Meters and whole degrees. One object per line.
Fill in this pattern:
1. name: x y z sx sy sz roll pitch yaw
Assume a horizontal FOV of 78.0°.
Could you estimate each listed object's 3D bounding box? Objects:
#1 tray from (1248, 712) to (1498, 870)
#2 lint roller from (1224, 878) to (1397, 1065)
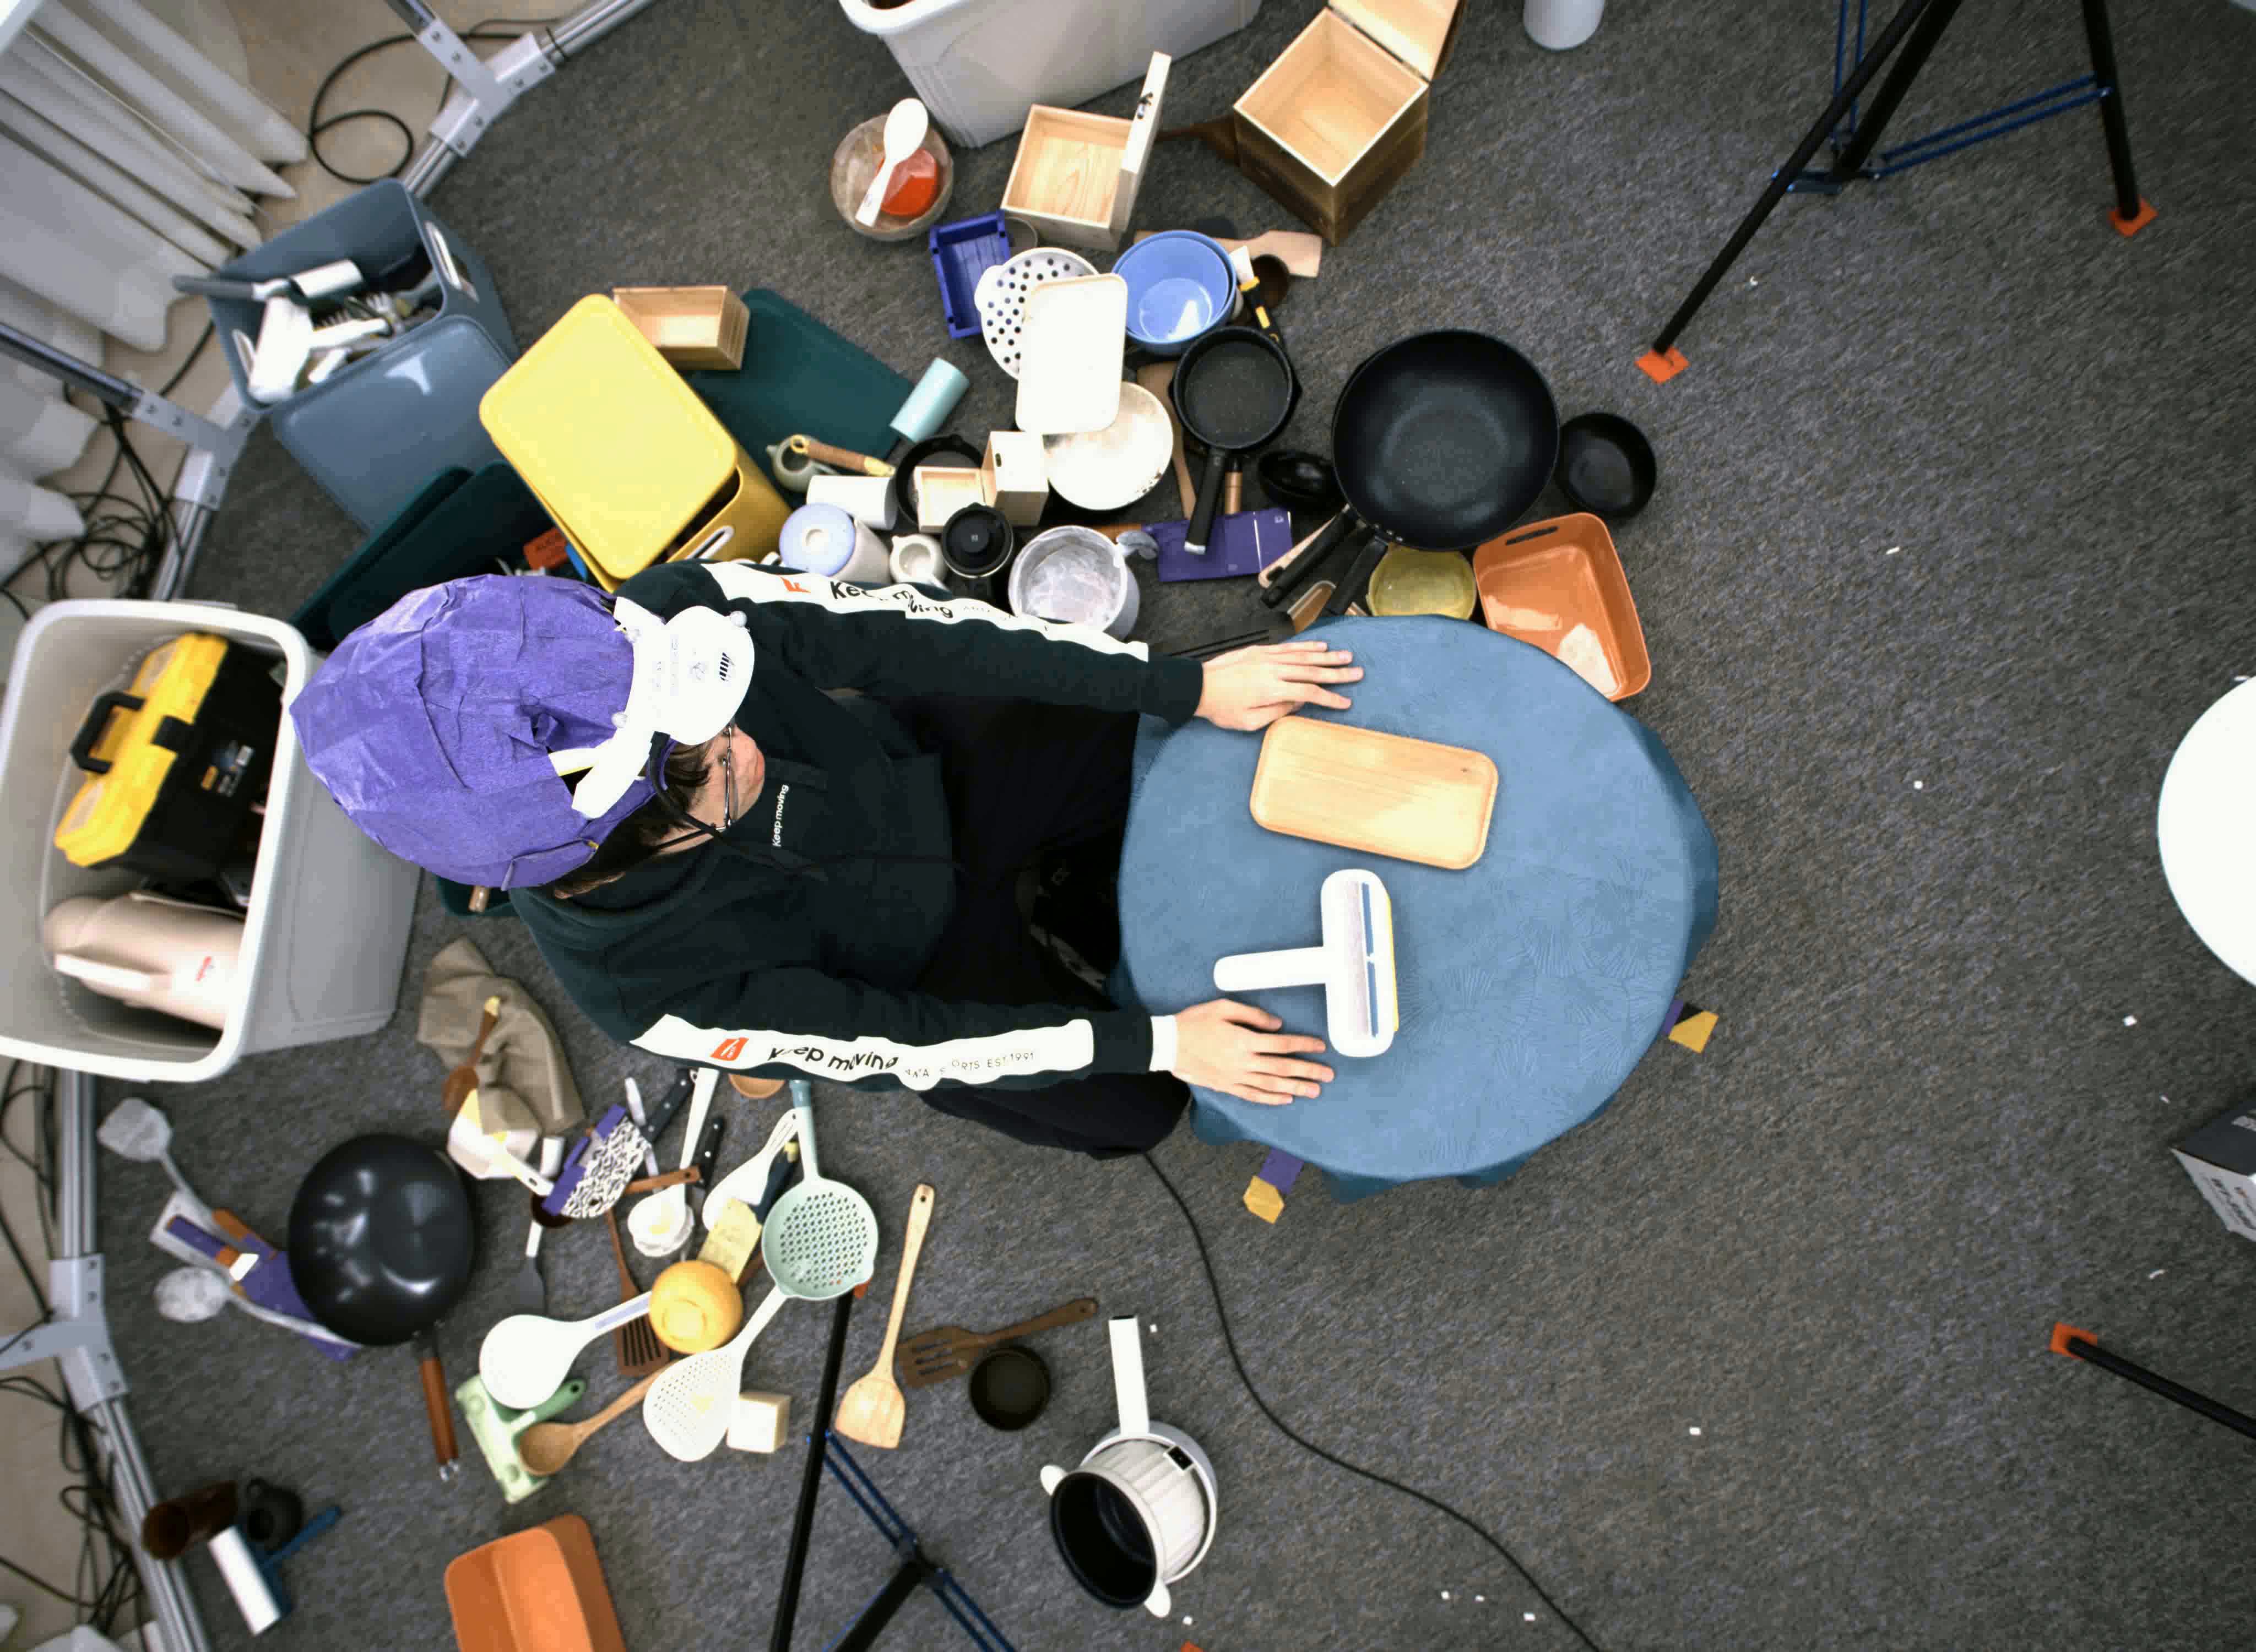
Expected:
1. tray: 0.257 -0.039 1.455 0.251 0.023 0.130 13 88 11
2. lint roller: 0.185 0.150 1.451 0.194 0.074 0.191 -1 80 25
